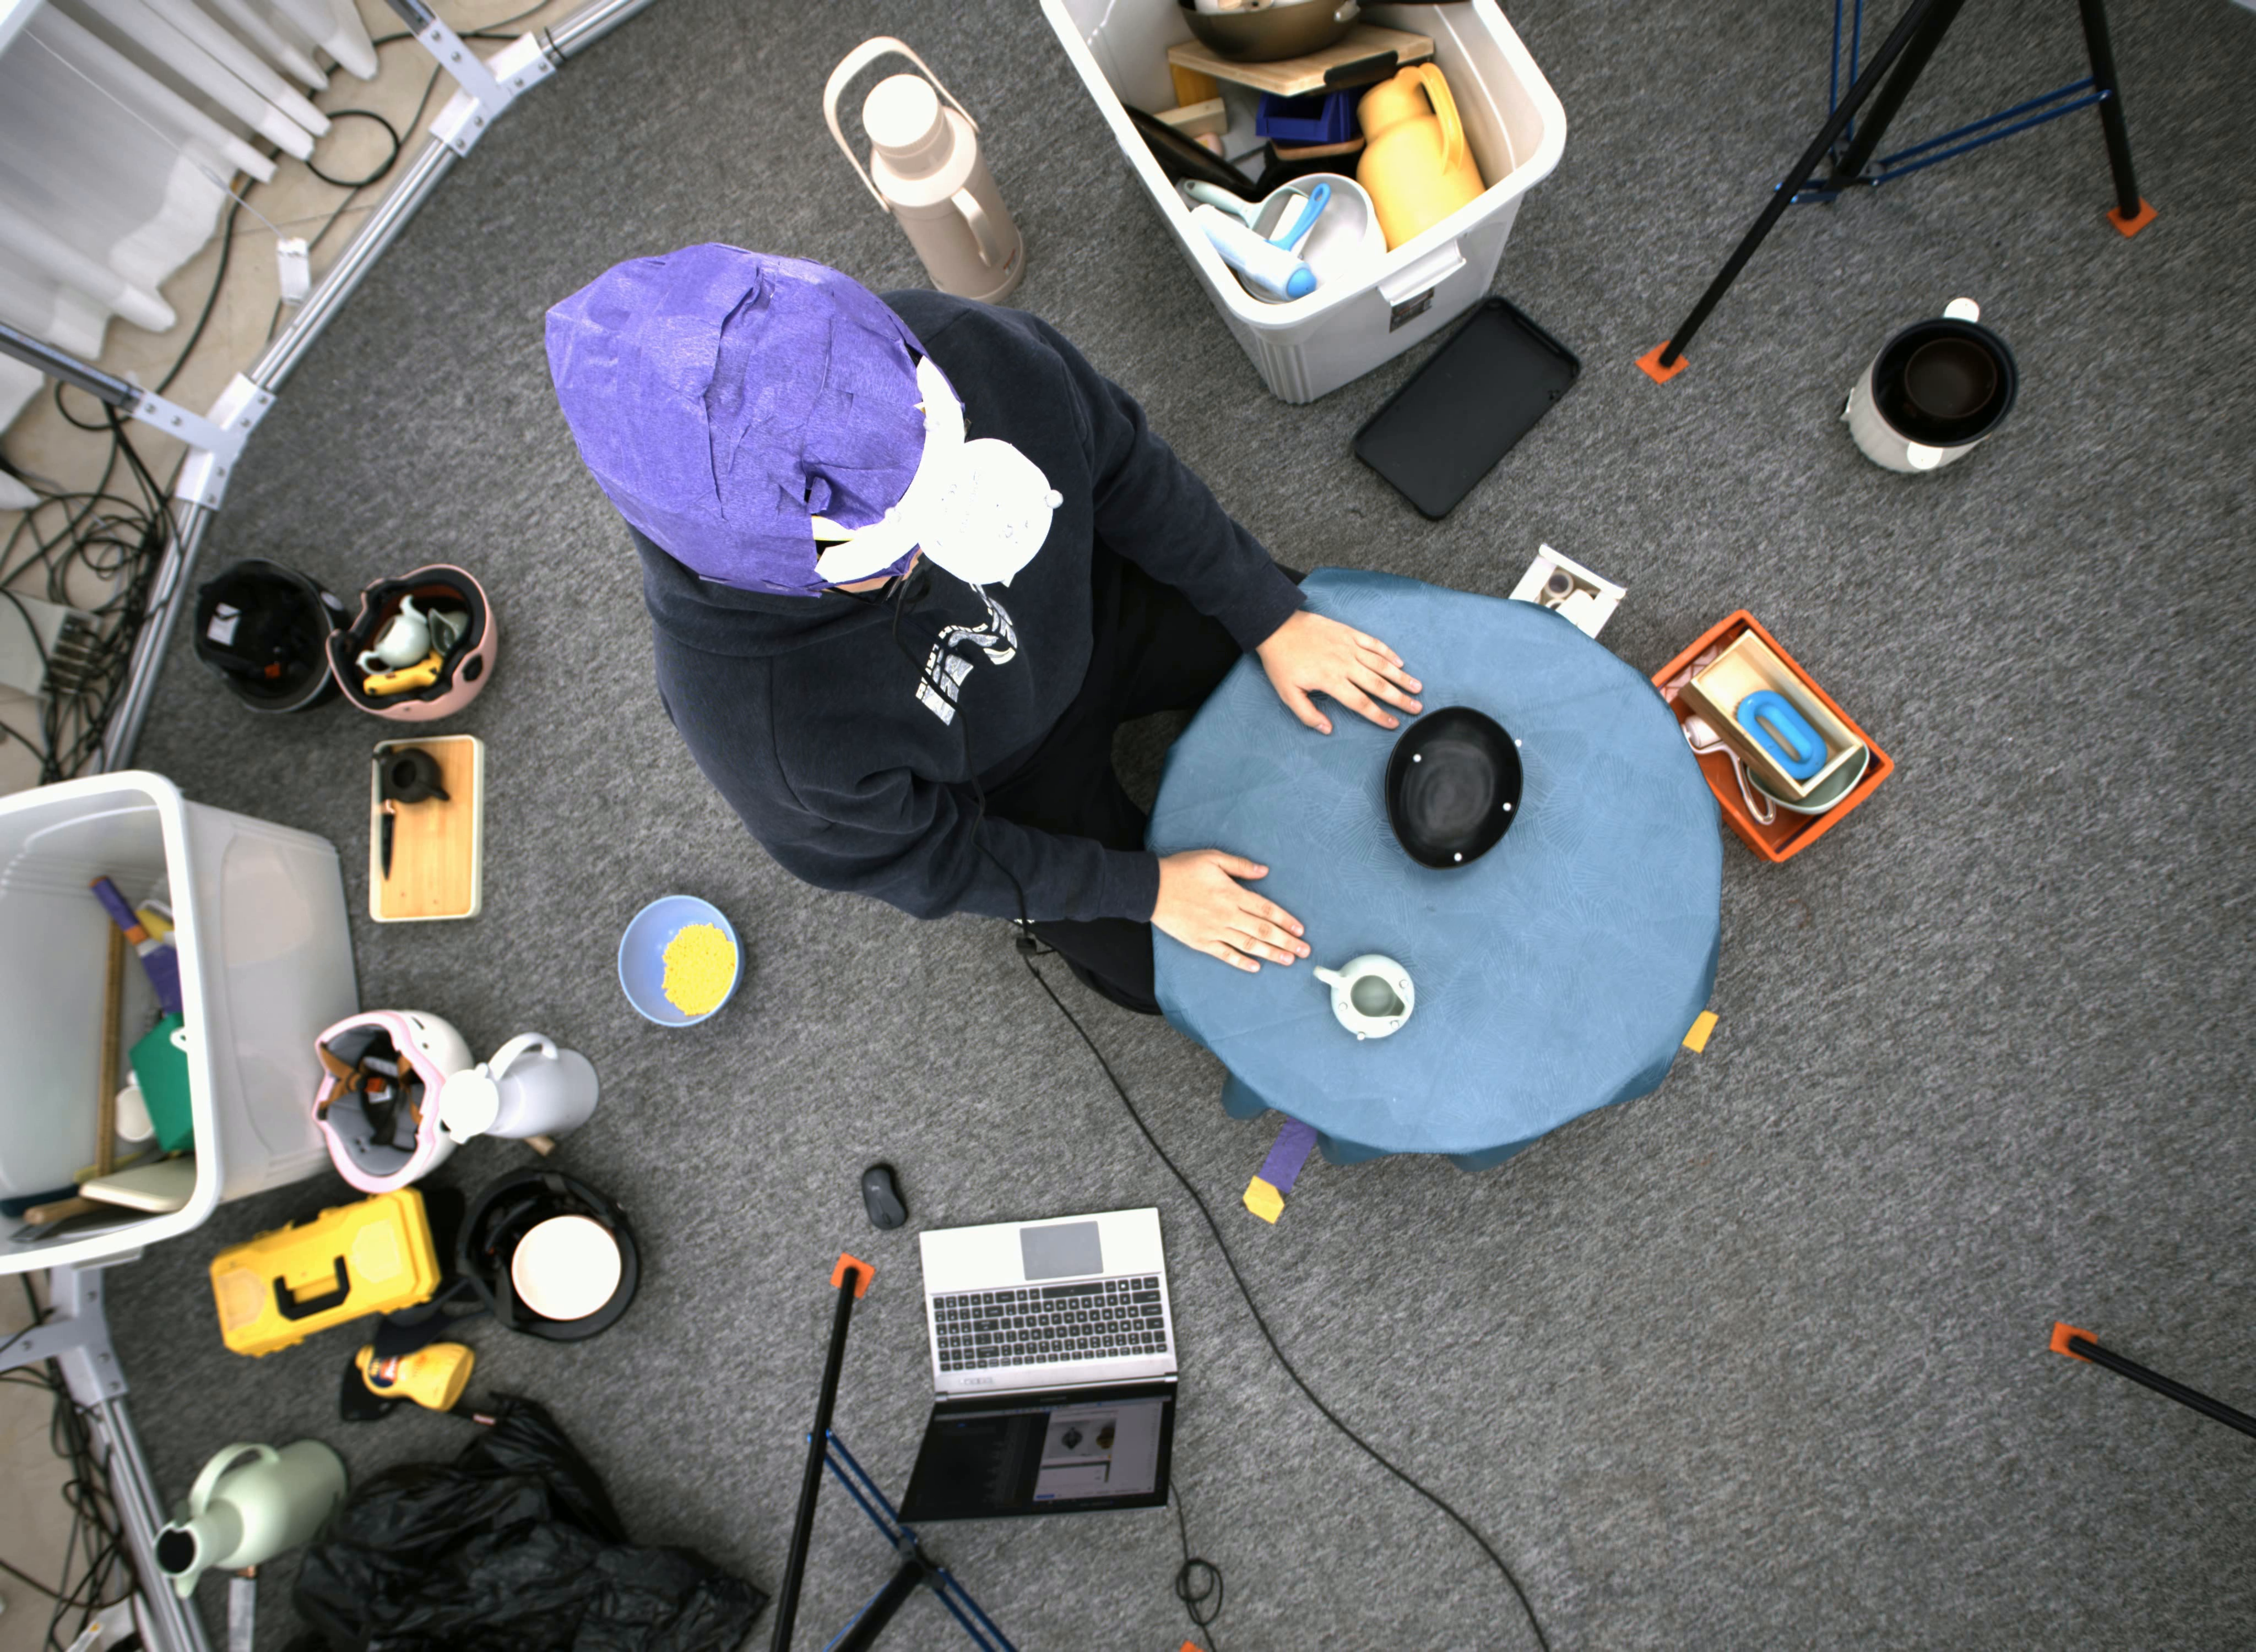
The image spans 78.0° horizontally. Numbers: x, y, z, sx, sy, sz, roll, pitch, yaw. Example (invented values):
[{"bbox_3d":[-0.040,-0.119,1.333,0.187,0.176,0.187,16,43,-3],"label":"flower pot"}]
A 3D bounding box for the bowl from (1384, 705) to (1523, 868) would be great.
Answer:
[{"bbox_3d":[0.335,-0.039,1.423,0.137,0.066,0.170,12,89,12],"label":"bowl"}]

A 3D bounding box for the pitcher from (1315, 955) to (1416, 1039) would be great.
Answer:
[{"bbox_3d":[0.244,0.171,1.432,0.108,0.060,0.086,22,89,14],"label":"pitcher"}]
